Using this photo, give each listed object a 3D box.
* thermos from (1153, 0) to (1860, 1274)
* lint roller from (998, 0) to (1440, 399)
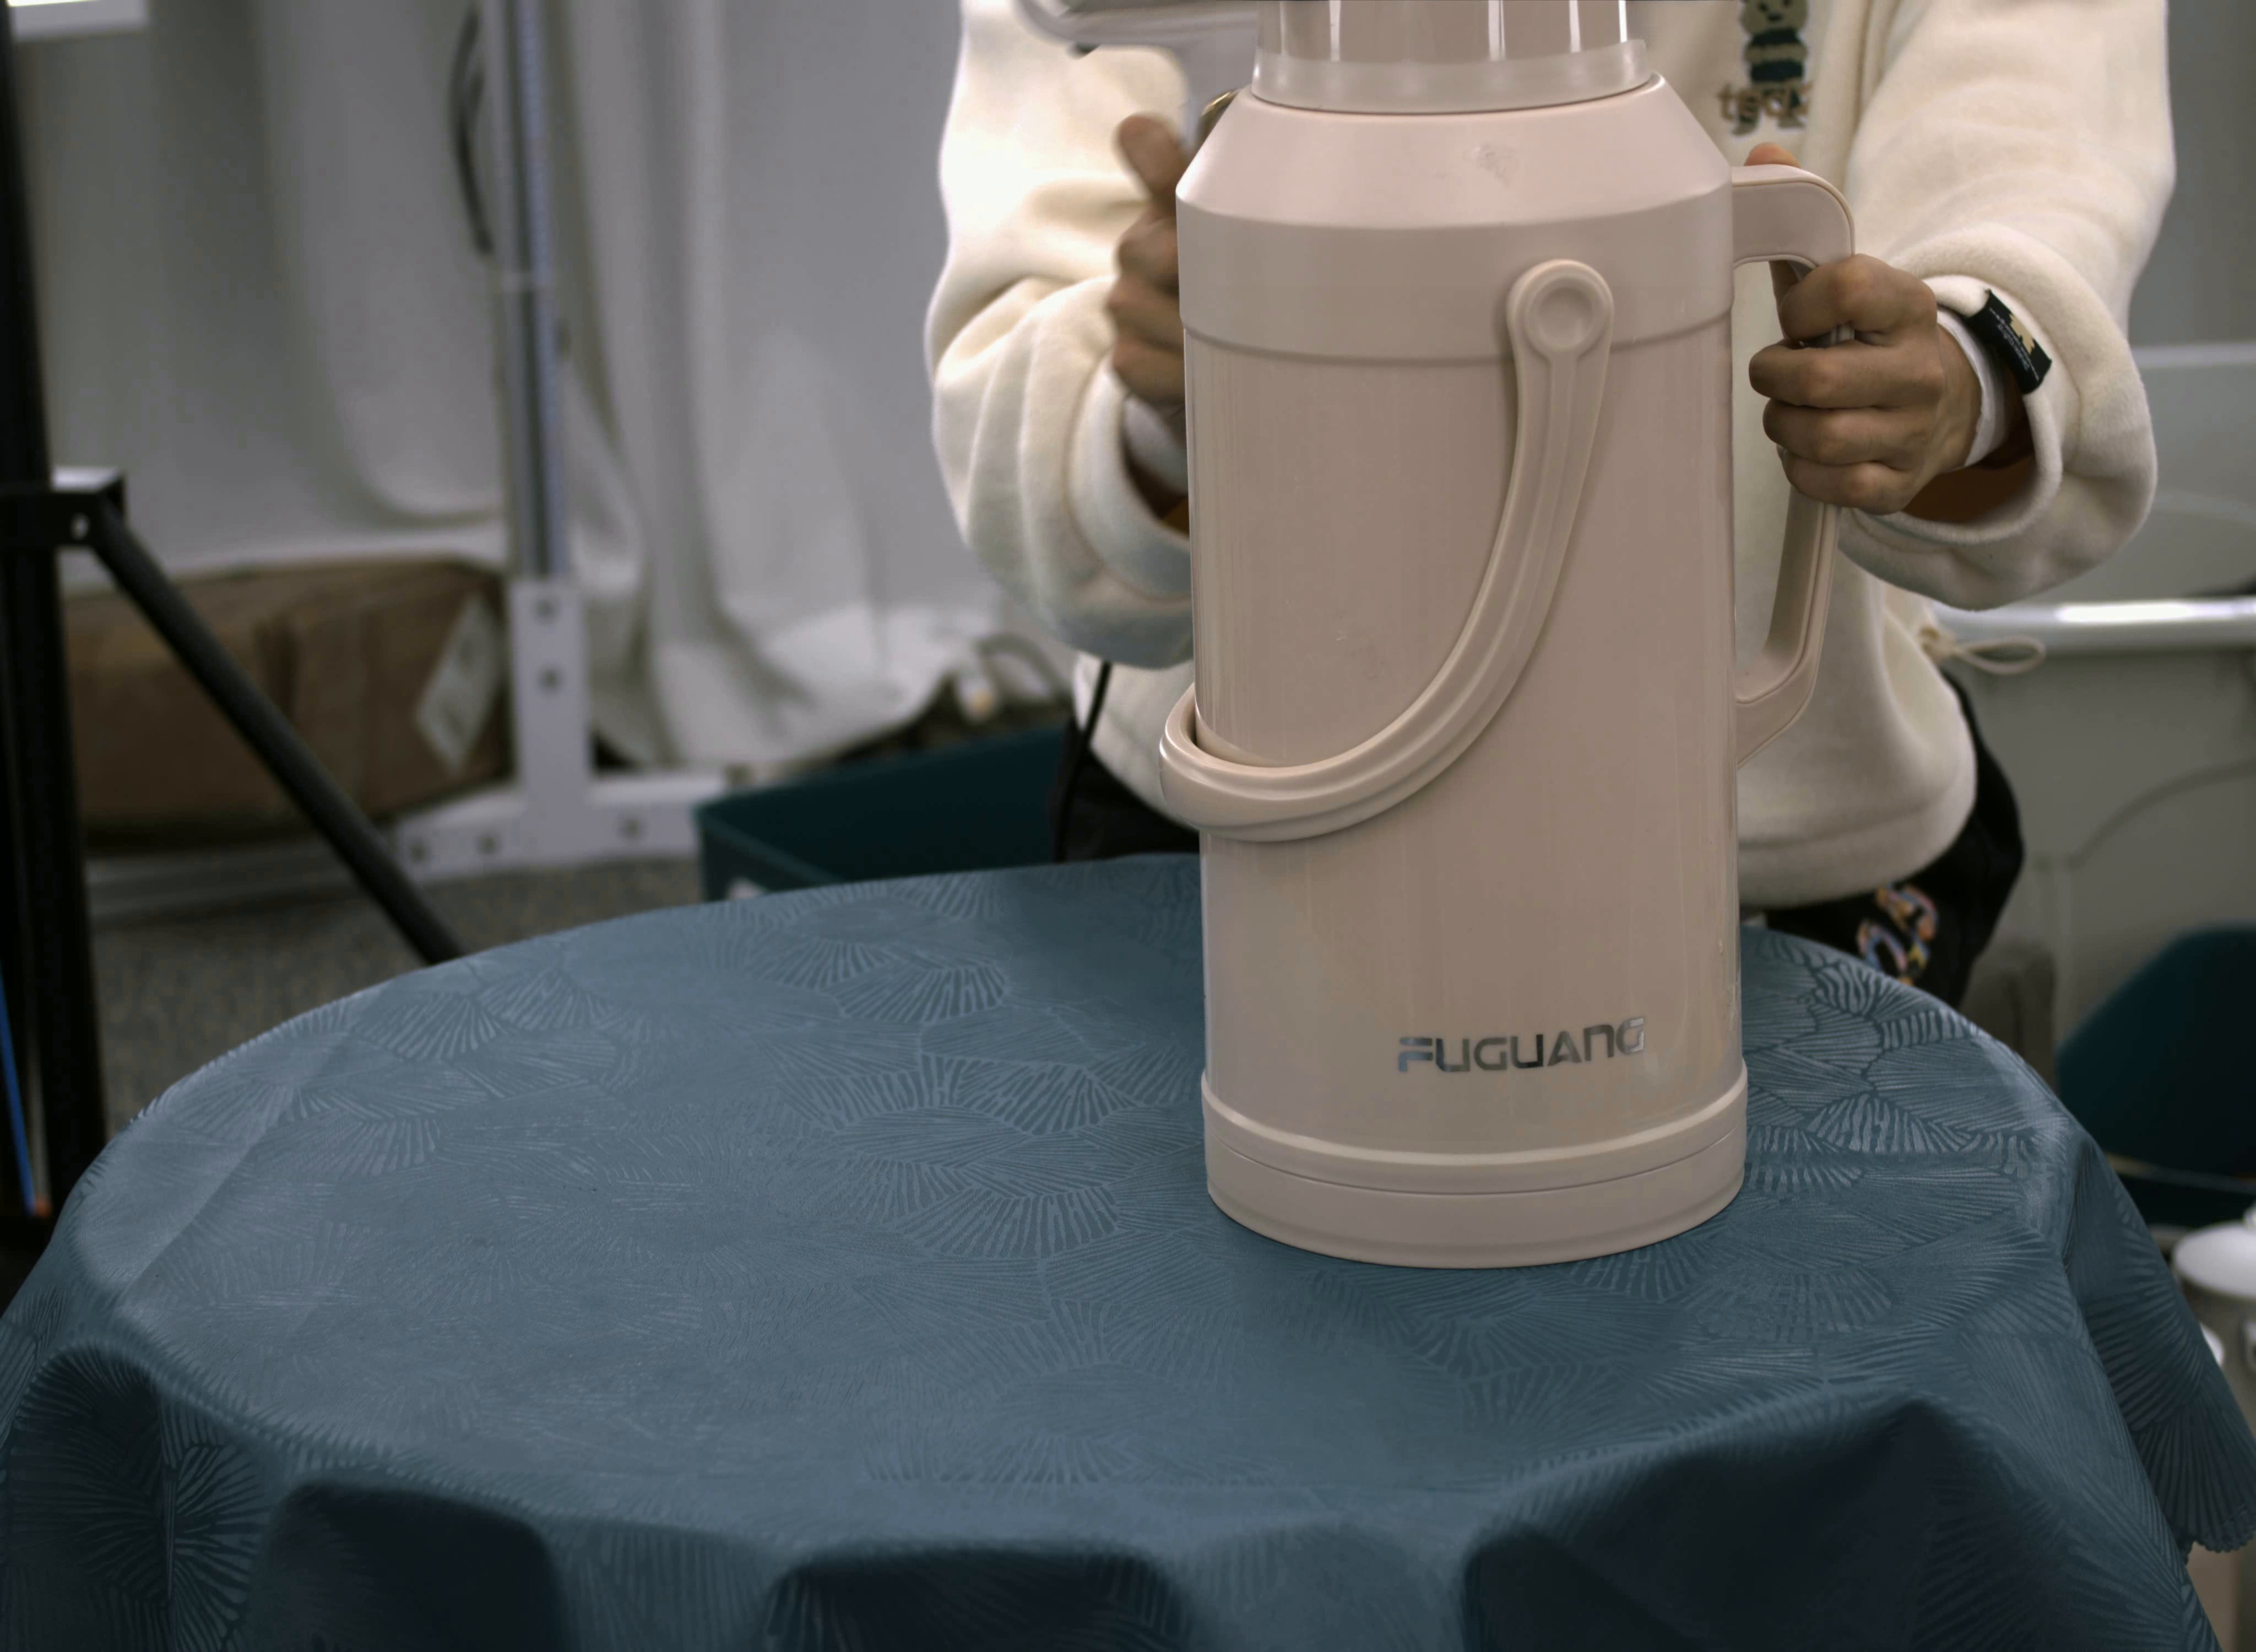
[{"bbox_3d":[0.108,-0.088,1.508,0.204,0.406,0.178,-6,15,-14],"label":"thermos"},{"bbox_3d":[0.031,-0.209,1.624,0.132,0.179,0.051,-5,47,1],"label":"lint roller"}]
